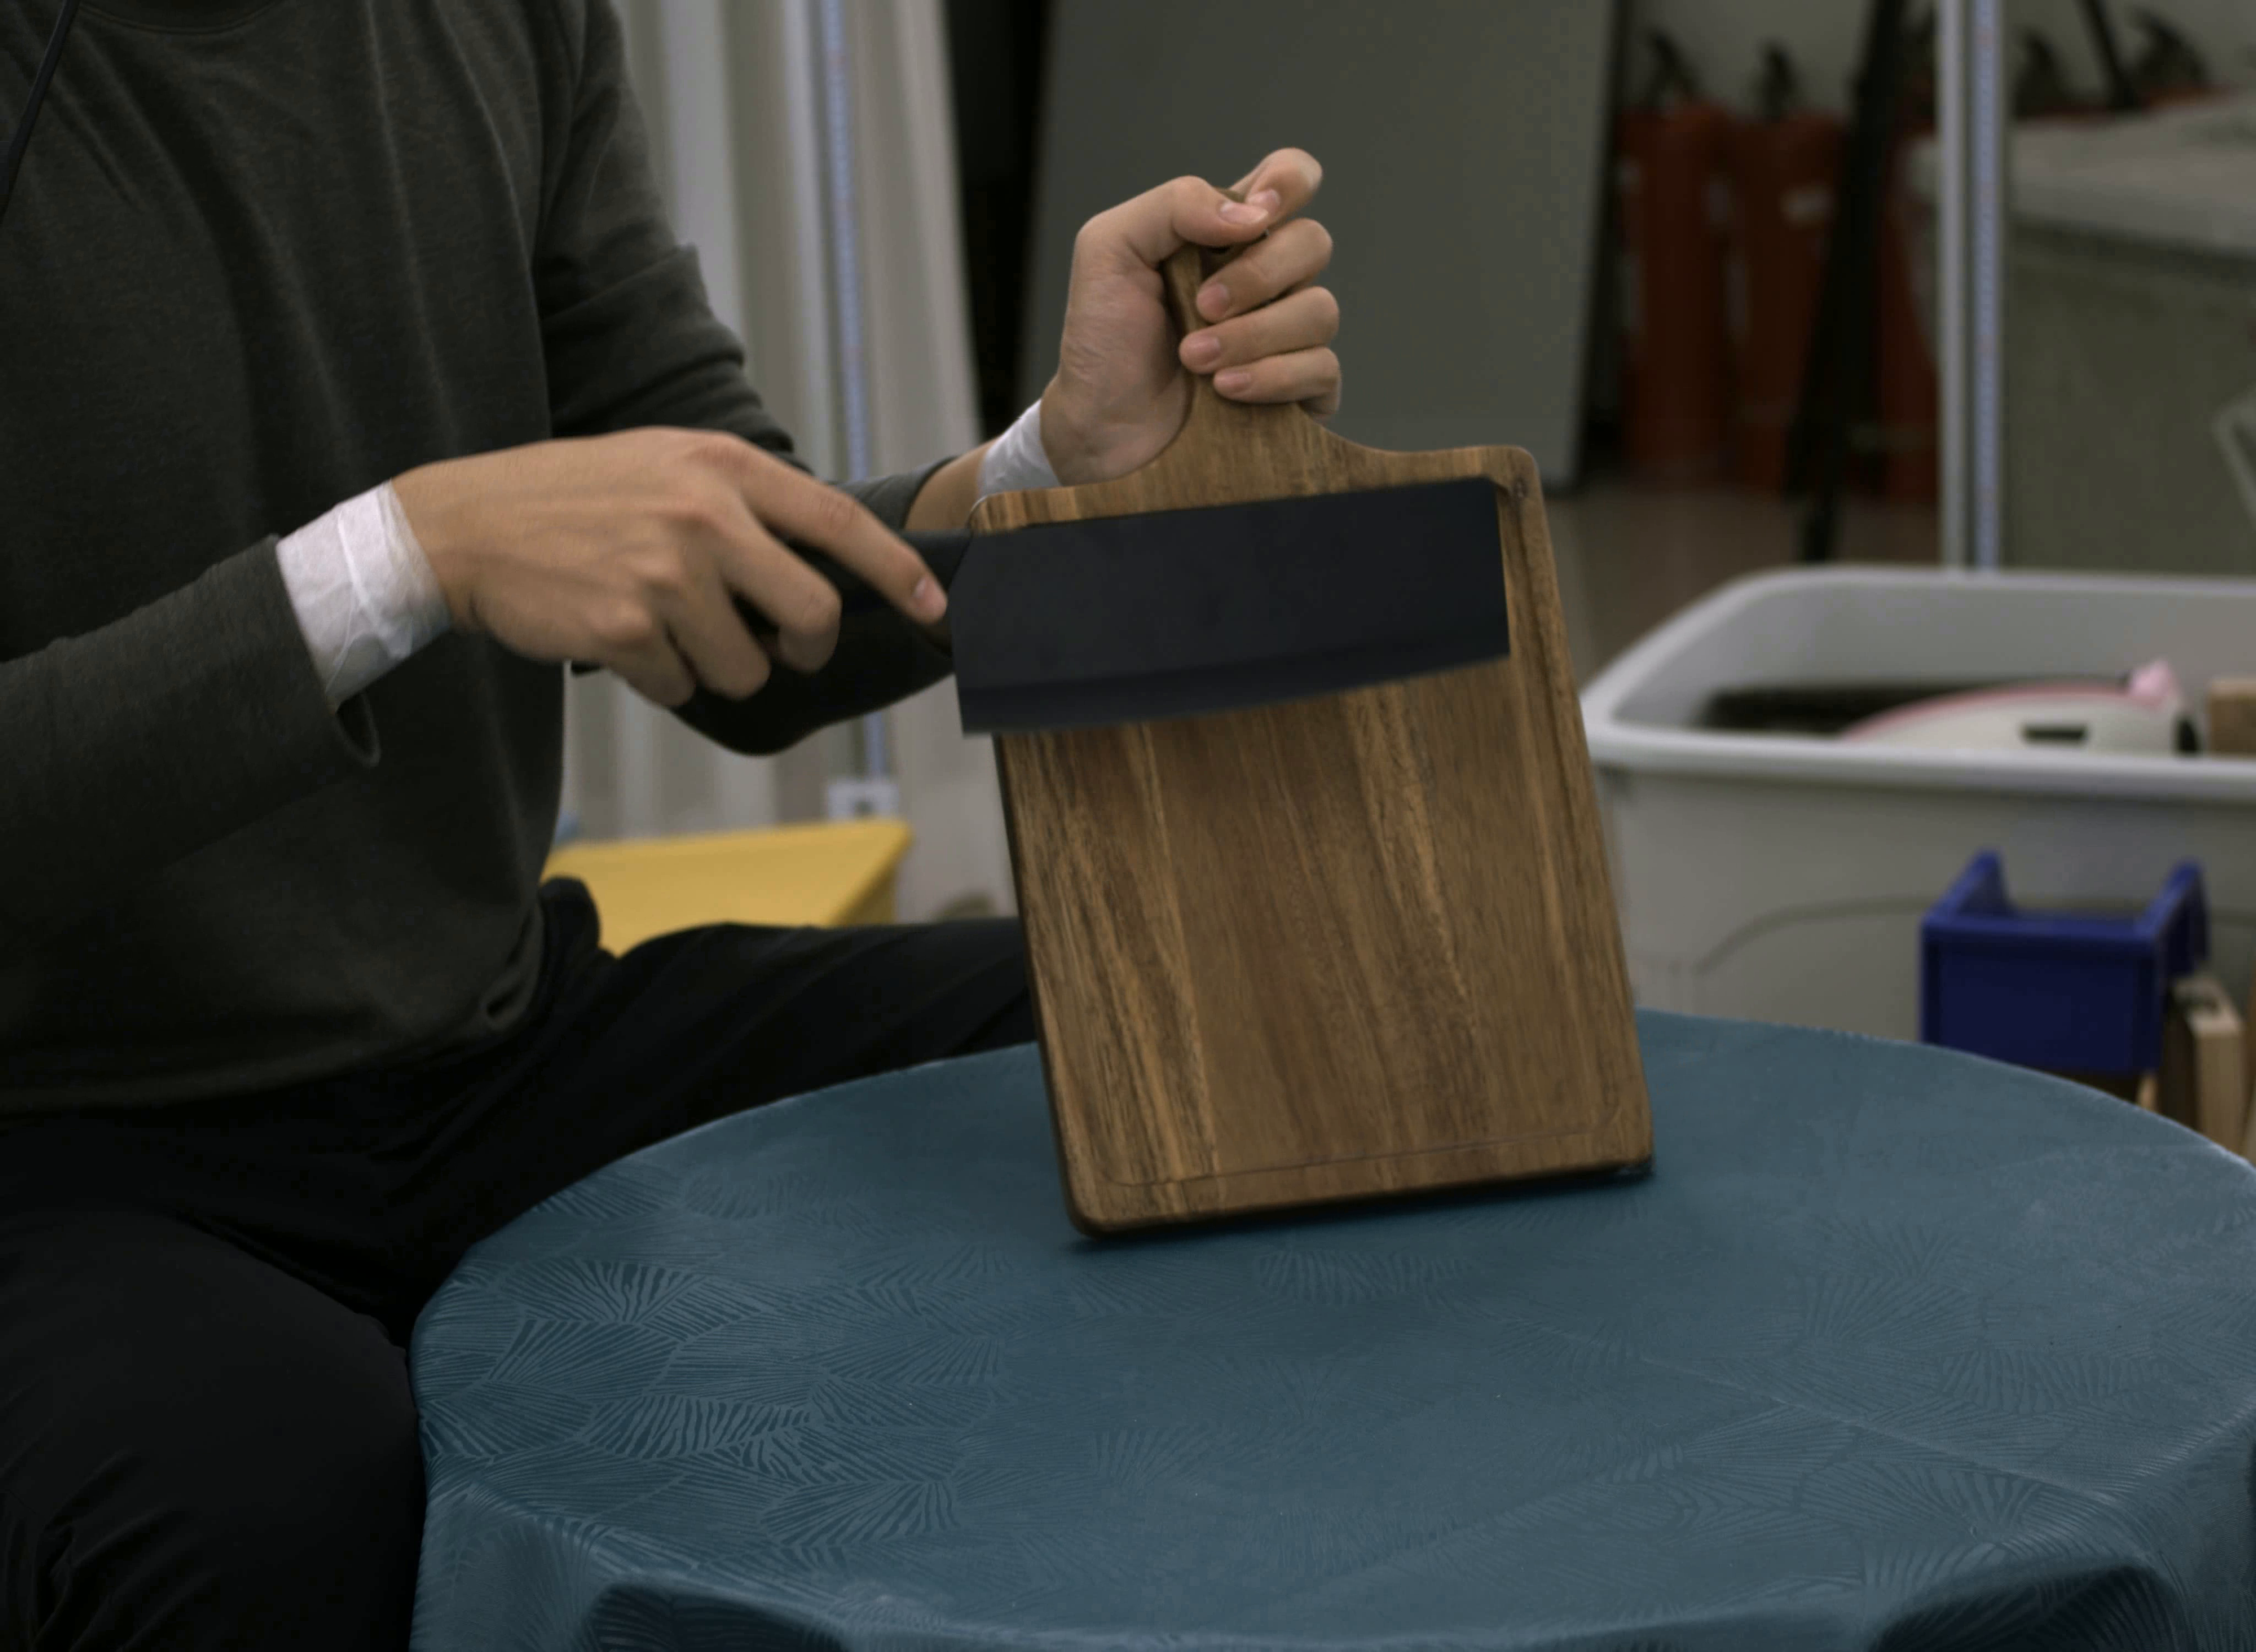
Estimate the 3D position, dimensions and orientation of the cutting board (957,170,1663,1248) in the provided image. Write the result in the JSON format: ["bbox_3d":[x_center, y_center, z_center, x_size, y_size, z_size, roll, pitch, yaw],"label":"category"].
[{"bbox_3d":[0.051,-0.047,1.777,0.197,0.357,0.023,-7,-15,-10],"label":"cutting board"}]

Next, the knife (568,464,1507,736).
[{"bbox_3d":[-0.028,-0.068,1.712,0.298,0.082,0.021,-3,6,-2],"label":"knife"}]
